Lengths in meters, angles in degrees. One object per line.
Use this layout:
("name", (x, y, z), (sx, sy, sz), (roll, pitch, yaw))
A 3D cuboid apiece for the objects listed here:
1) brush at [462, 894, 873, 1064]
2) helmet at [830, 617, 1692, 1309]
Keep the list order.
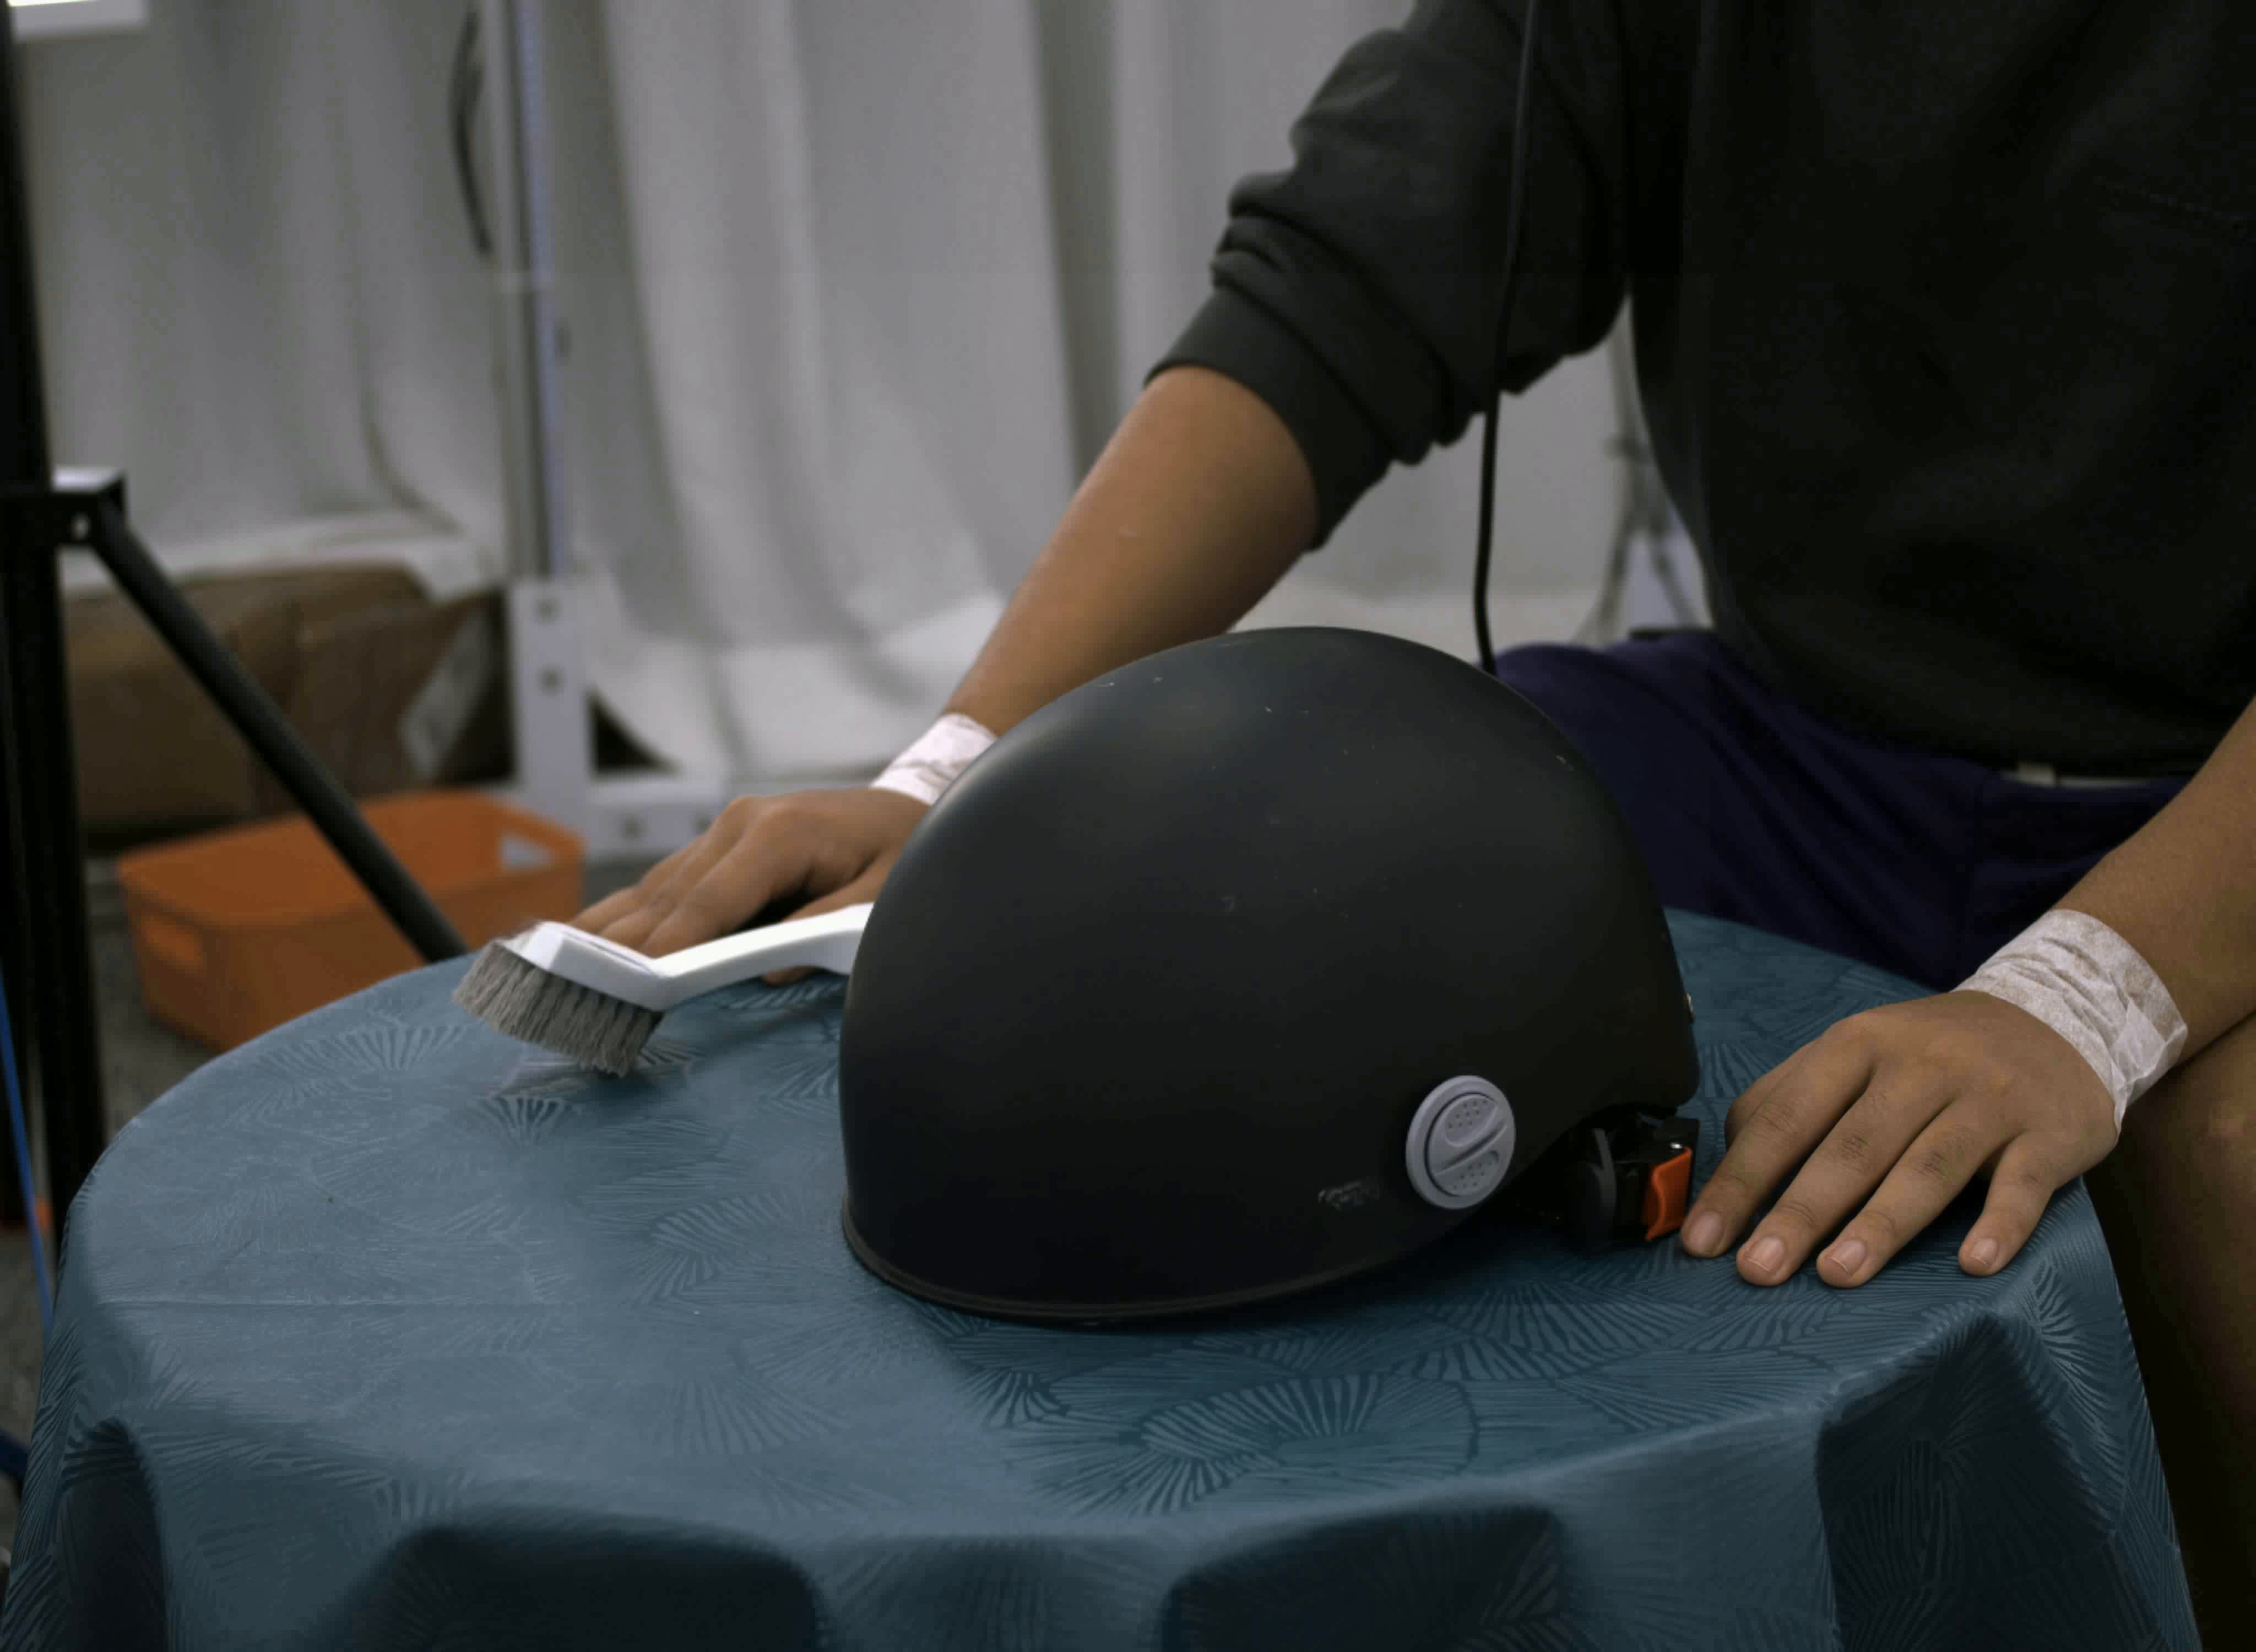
("brush", (-0.114, 0.049, 1.741), (0.237, 0.050, 0.035), (0, 18, -45))
("helmet", (0.034, 0.029, 1.547), (0.267, 0.166, 0.235), (-19, 19, -40))
